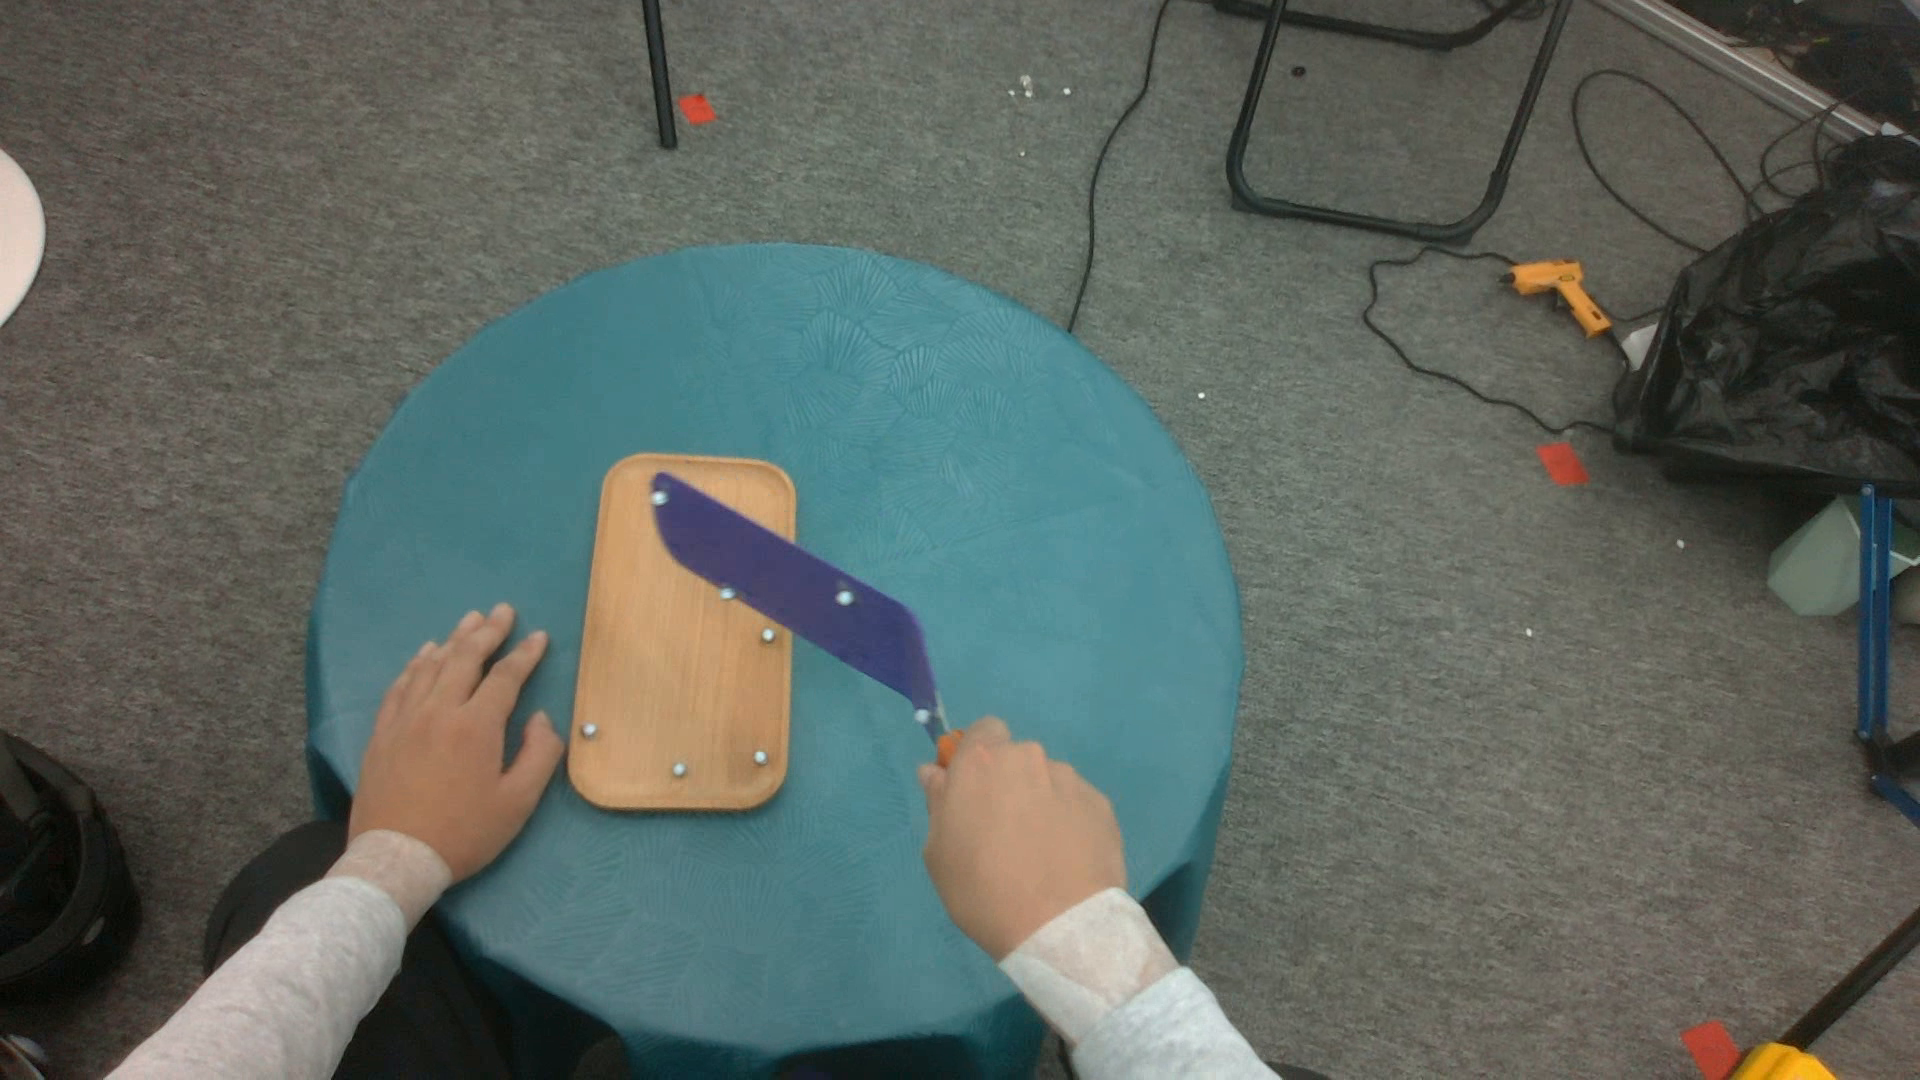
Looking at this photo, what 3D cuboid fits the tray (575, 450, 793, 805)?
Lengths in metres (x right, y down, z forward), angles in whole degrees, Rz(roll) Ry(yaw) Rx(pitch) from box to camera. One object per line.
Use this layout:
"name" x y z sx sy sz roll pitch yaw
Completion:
"tray" -0.173 0.050 0.884 0.130 0.023 0.251 3 58 -11

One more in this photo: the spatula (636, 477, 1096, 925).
"spatula" -0.064 0.076 0.724 0.087 0.075 0.360 -24 49 -19
